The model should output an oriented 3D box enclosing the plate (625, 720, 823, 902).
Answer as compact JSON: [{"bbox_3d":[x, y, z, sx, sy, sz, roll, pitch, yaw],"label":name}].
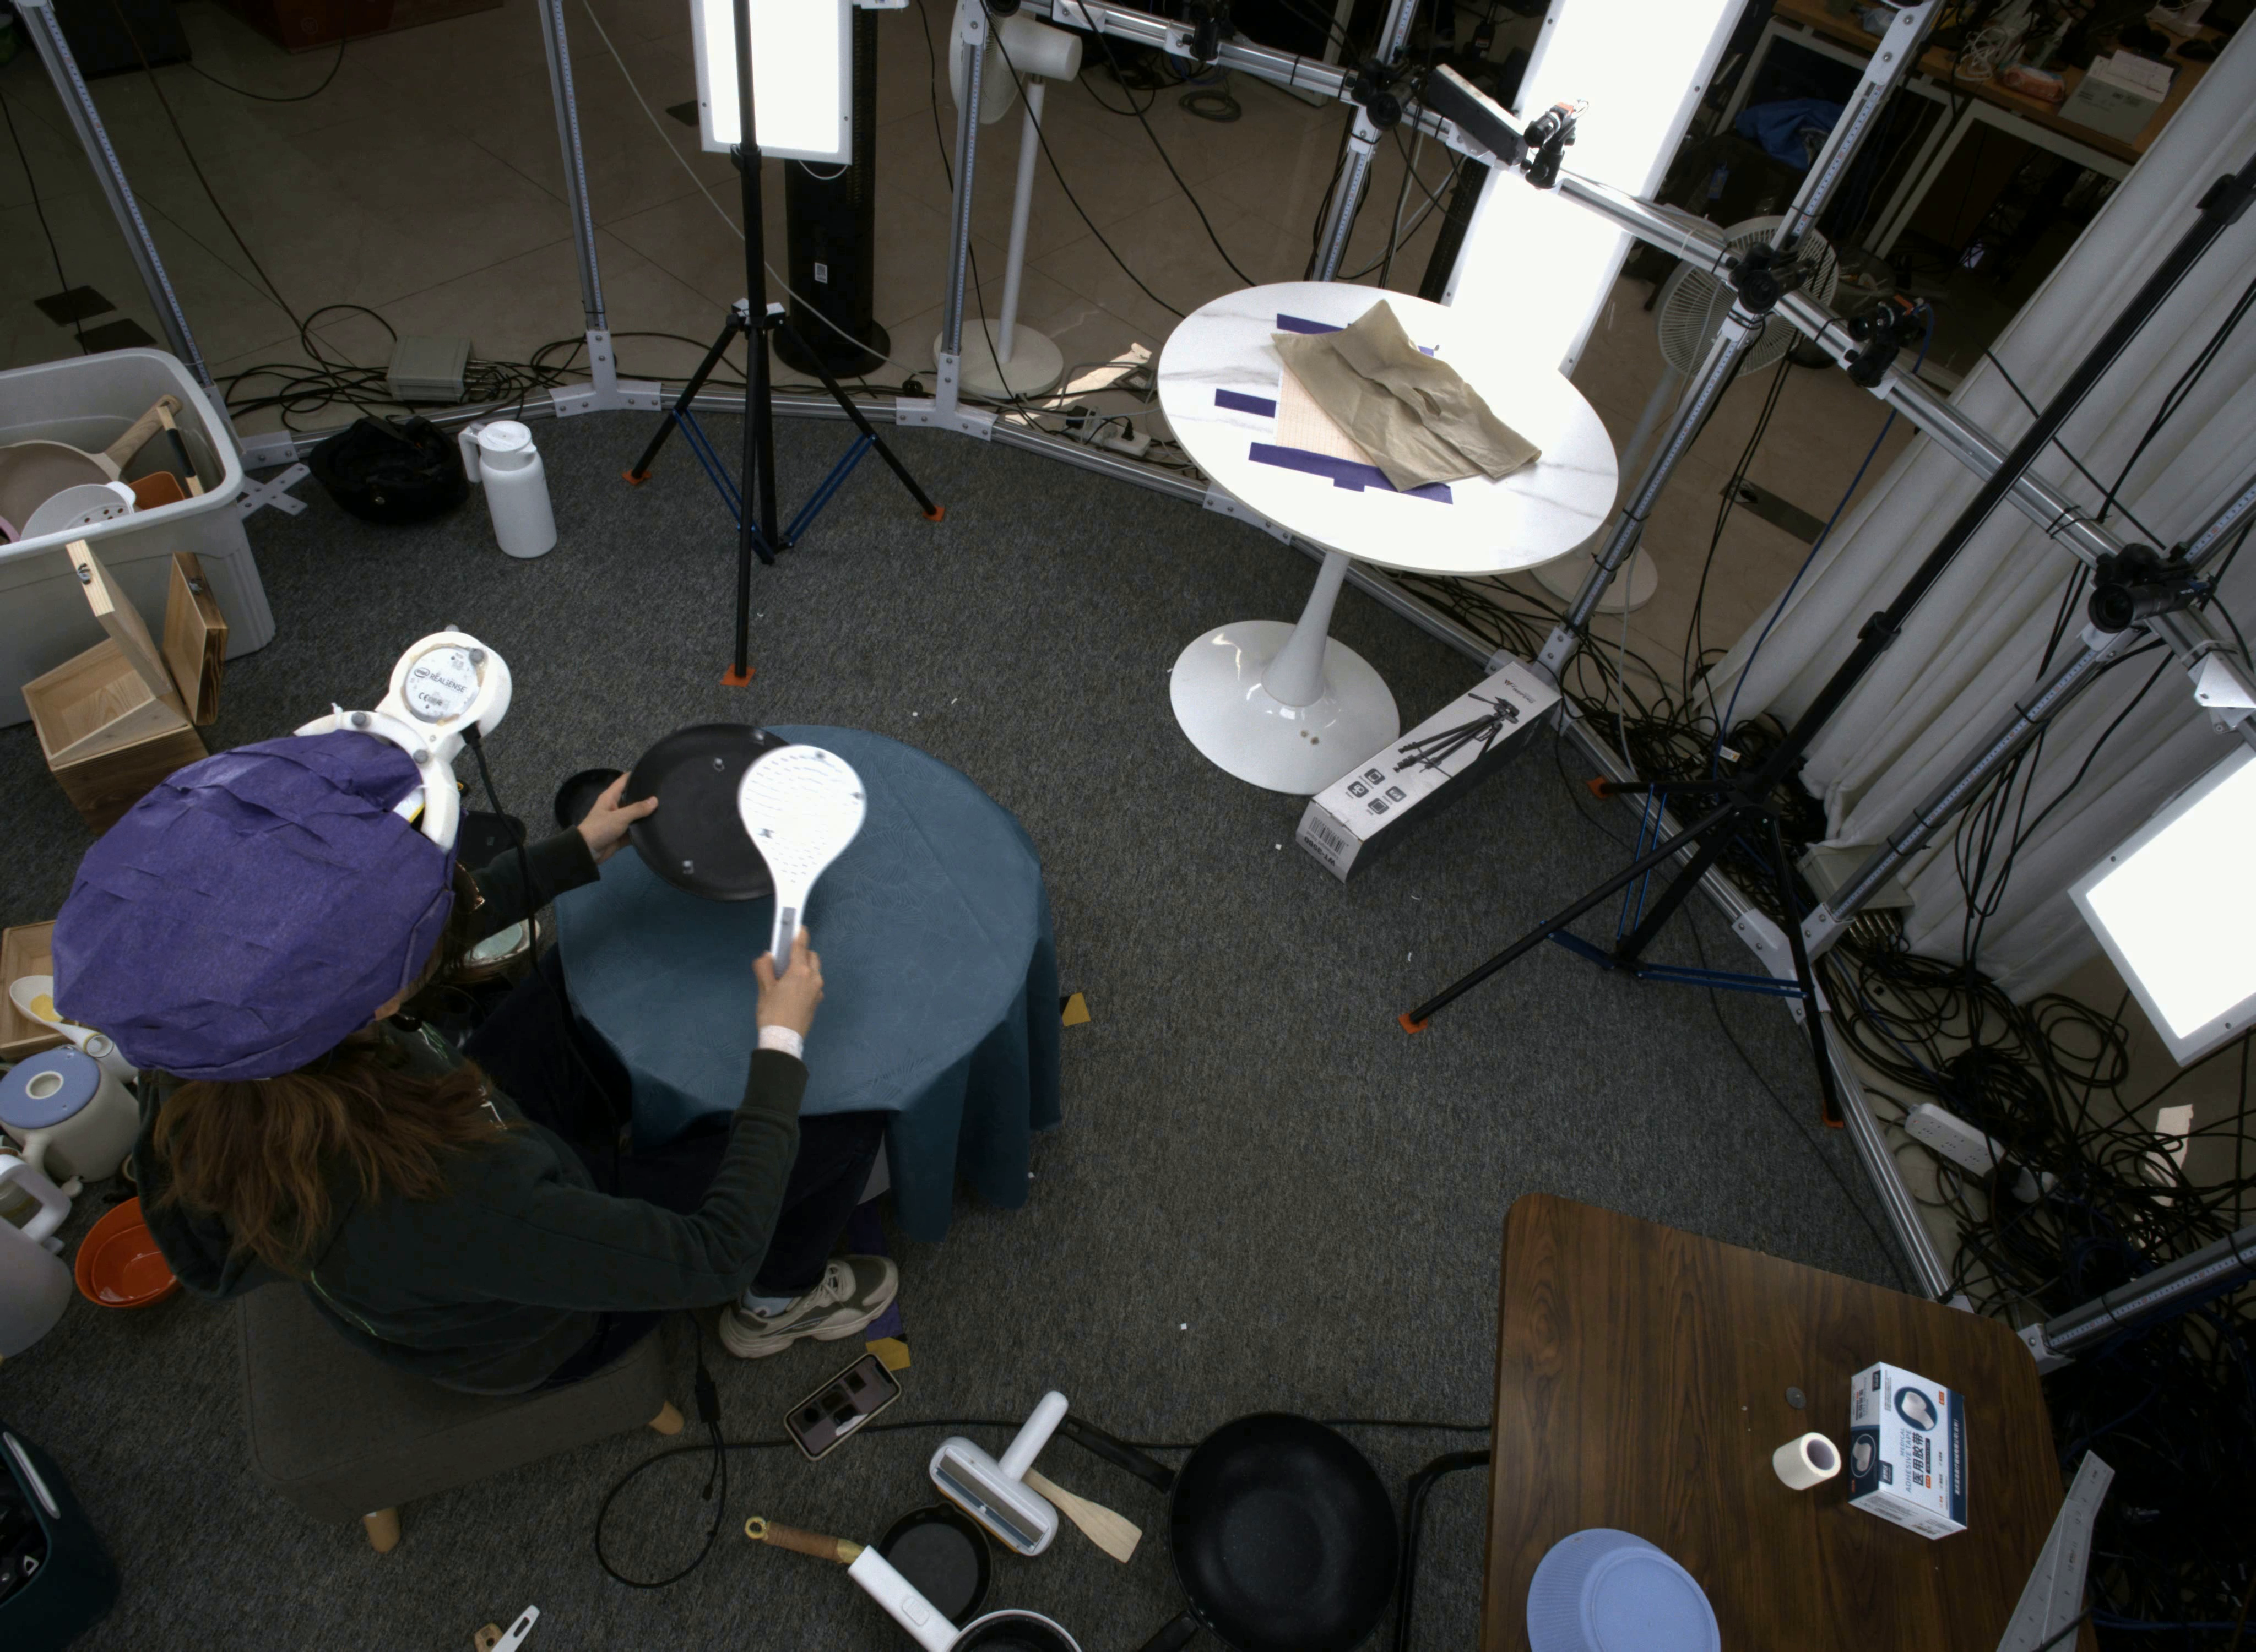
[{"bbox_3d":[-0.487,-0.018,1.572,0.247,0.023,0.241,12,62,-20],"label":"plate"}]

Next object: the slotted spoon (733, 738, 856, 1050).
[{"bbox_3d":[-0.376,0.068,1.421,0.137,0.046,0.346,7,65,-17],"label":"slotted spoon"}]
